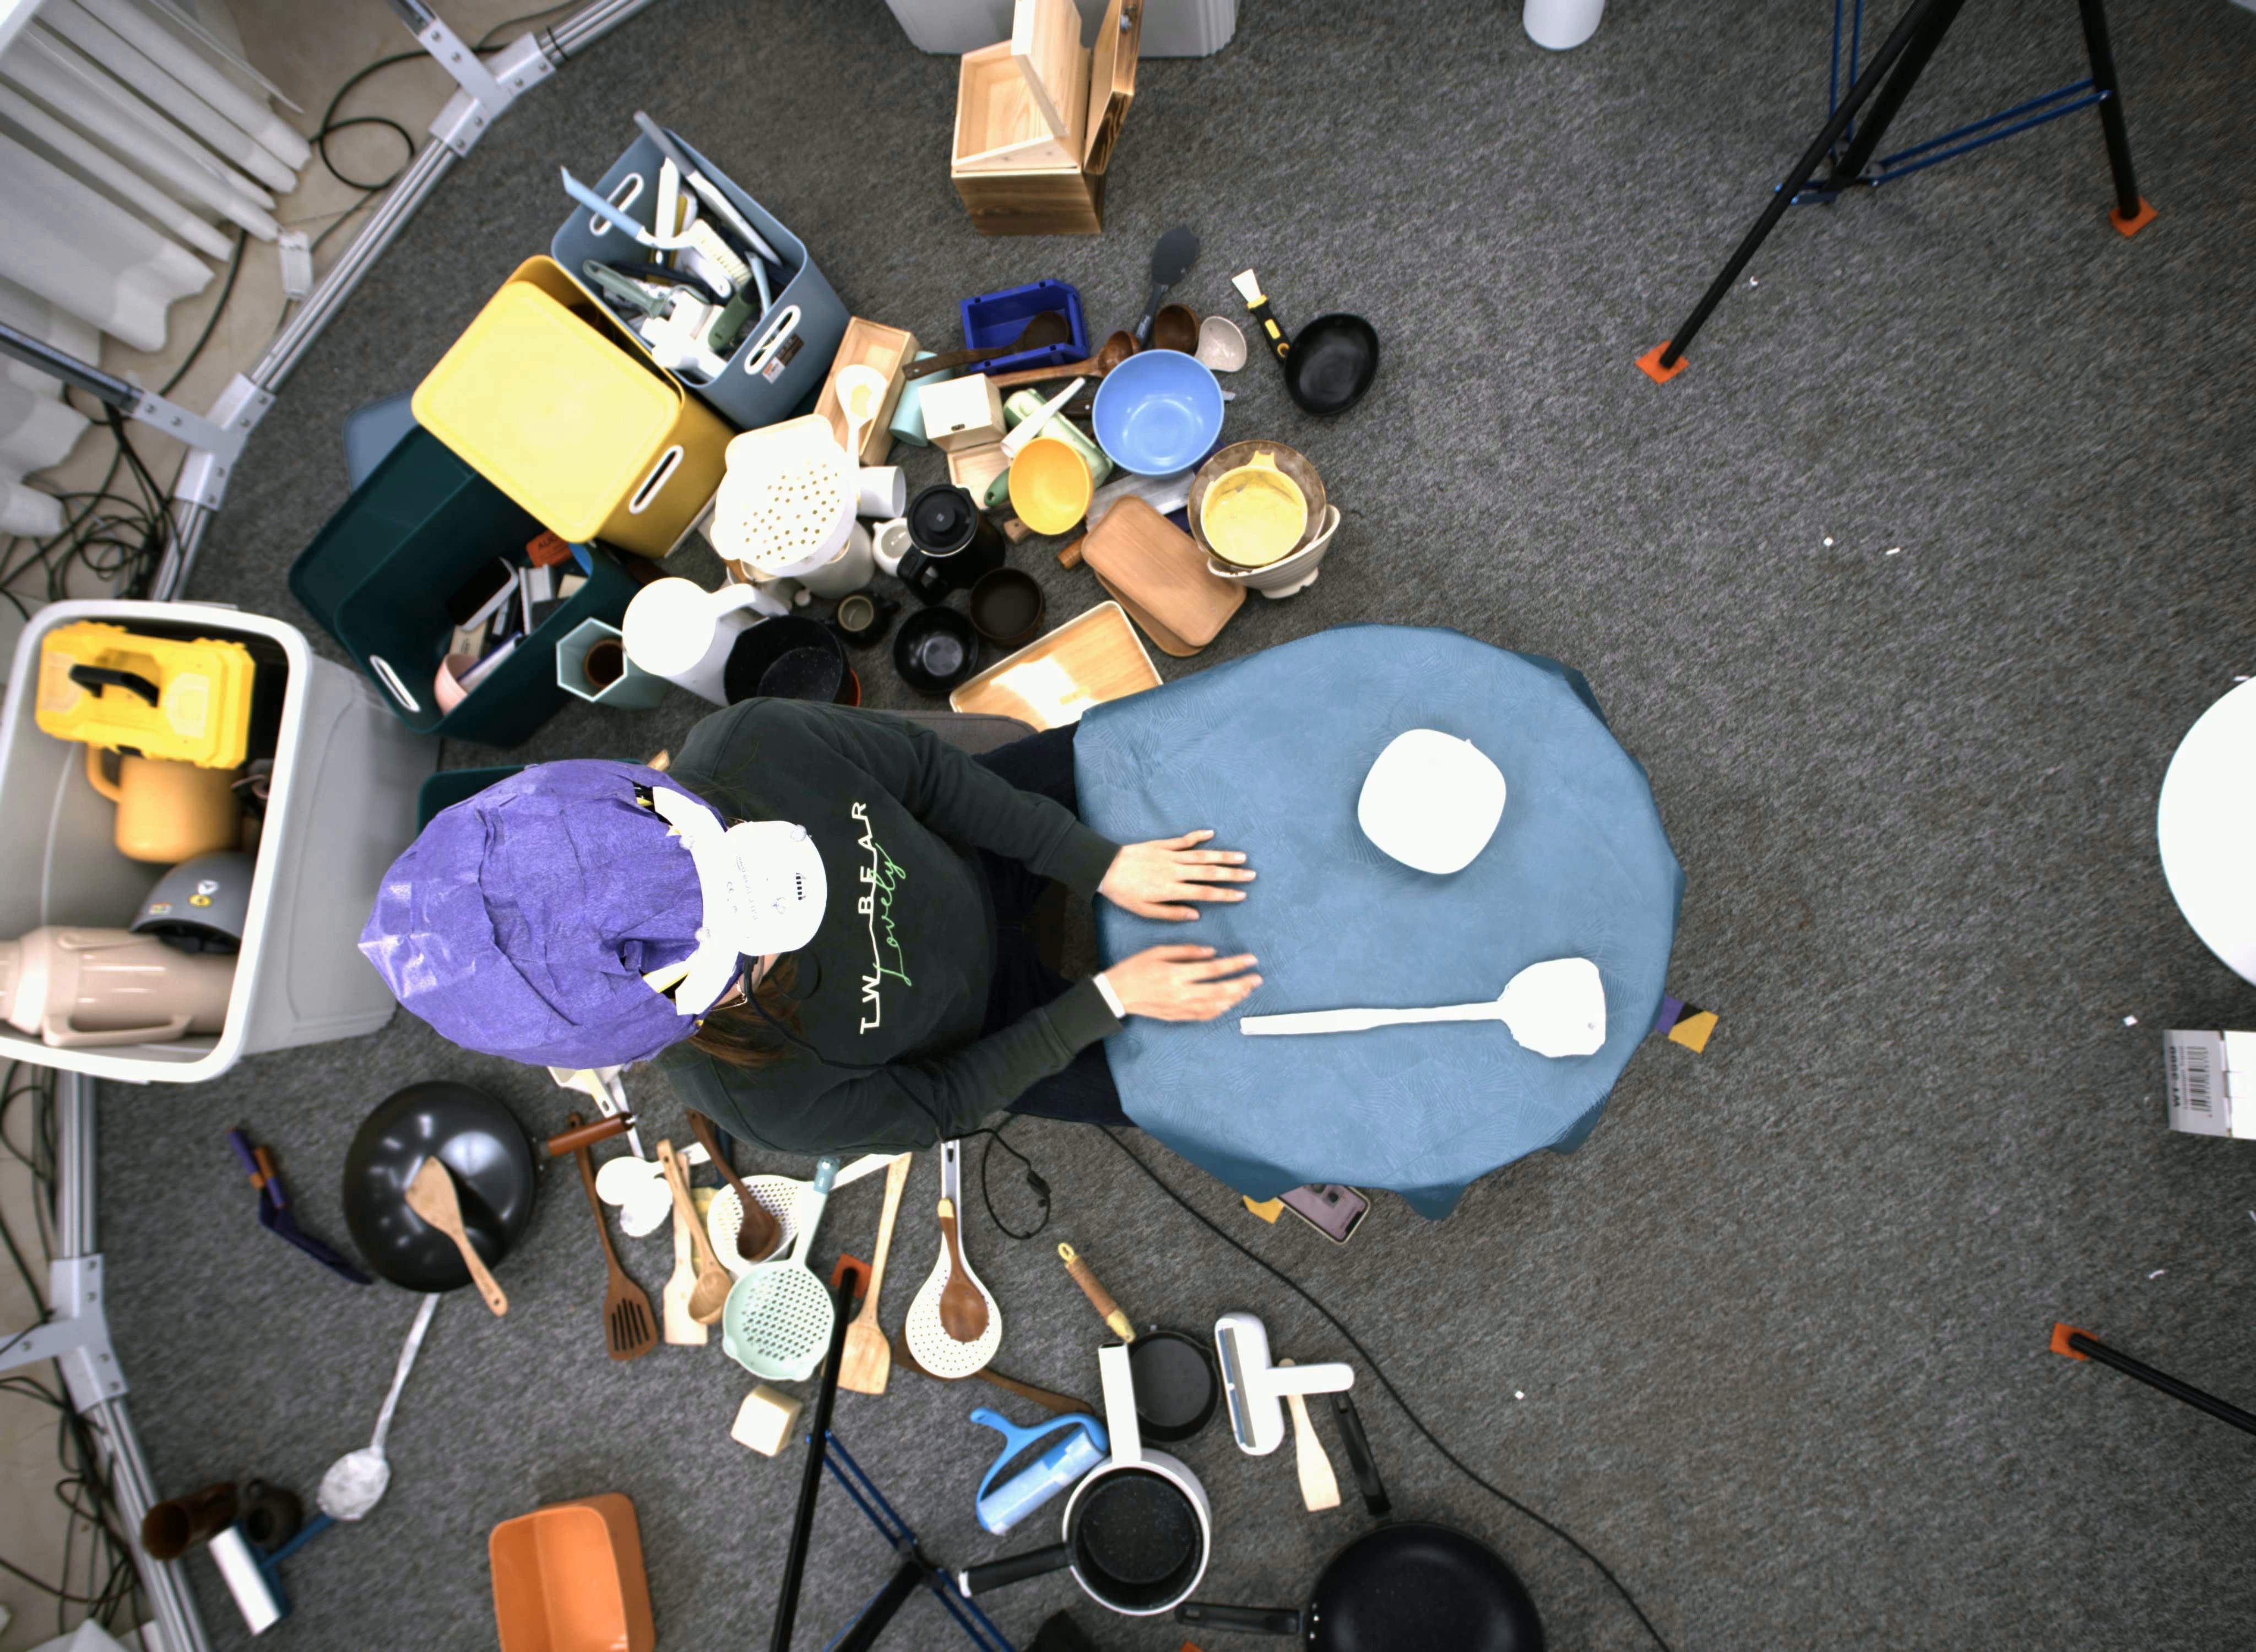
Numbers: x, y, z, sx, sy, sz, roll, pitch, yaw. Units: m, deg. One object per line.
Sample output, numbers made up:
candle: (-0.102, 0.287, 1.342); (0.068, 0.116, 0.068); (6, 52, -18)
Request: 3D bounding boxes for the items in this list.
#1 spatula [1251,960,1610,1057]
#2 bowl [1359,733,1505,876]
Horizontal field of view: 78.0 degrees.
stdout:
spatula: (0.307, 0.193, 1.430); (0.366, 0.045, 0.098); (-4, 87, 10)
bowl: (0.315, -0.021, 1.435); (0.152, 0.059, 0.150); (-1, 84, 8)
